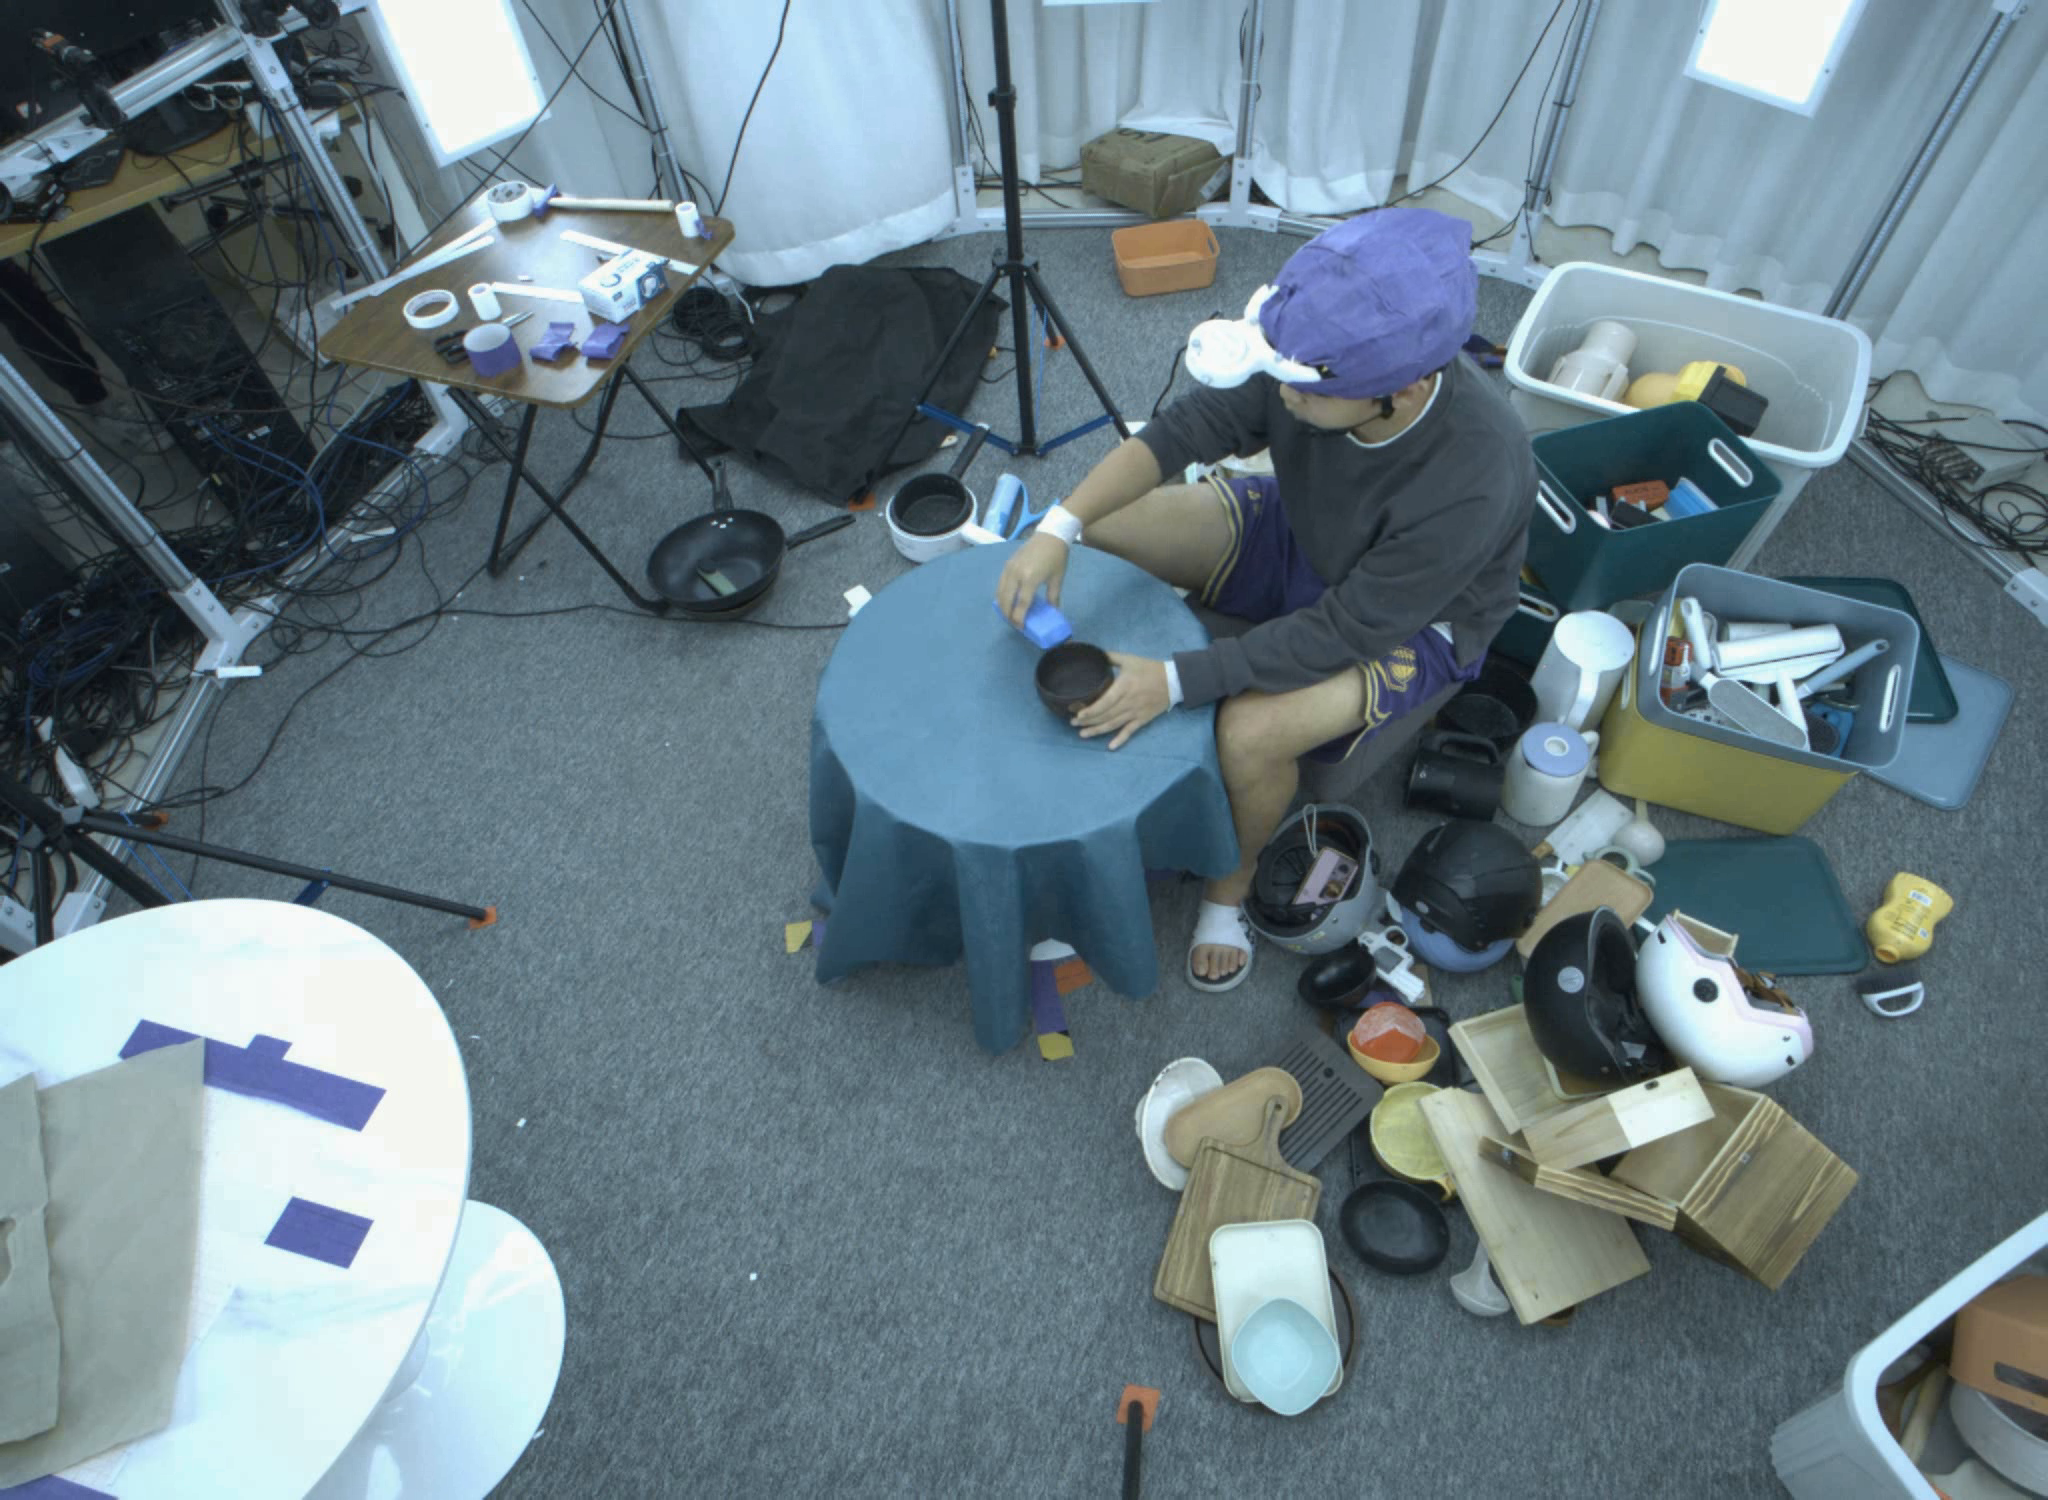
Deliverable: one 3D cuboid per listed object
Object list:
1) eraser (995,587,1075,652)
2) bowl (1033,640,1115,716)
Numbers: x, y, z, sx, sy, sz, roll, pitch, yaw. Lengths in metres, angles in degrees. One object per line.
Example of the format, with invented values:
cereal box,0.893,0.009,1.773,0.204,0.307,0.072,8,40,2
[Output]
eraser,0.012,-0.201,1.833,0.054,0.048,0.158,-36,39,-12
bowl,0.076,-0.097,1.807,0.117,0.071,0.117,-4,49,6
